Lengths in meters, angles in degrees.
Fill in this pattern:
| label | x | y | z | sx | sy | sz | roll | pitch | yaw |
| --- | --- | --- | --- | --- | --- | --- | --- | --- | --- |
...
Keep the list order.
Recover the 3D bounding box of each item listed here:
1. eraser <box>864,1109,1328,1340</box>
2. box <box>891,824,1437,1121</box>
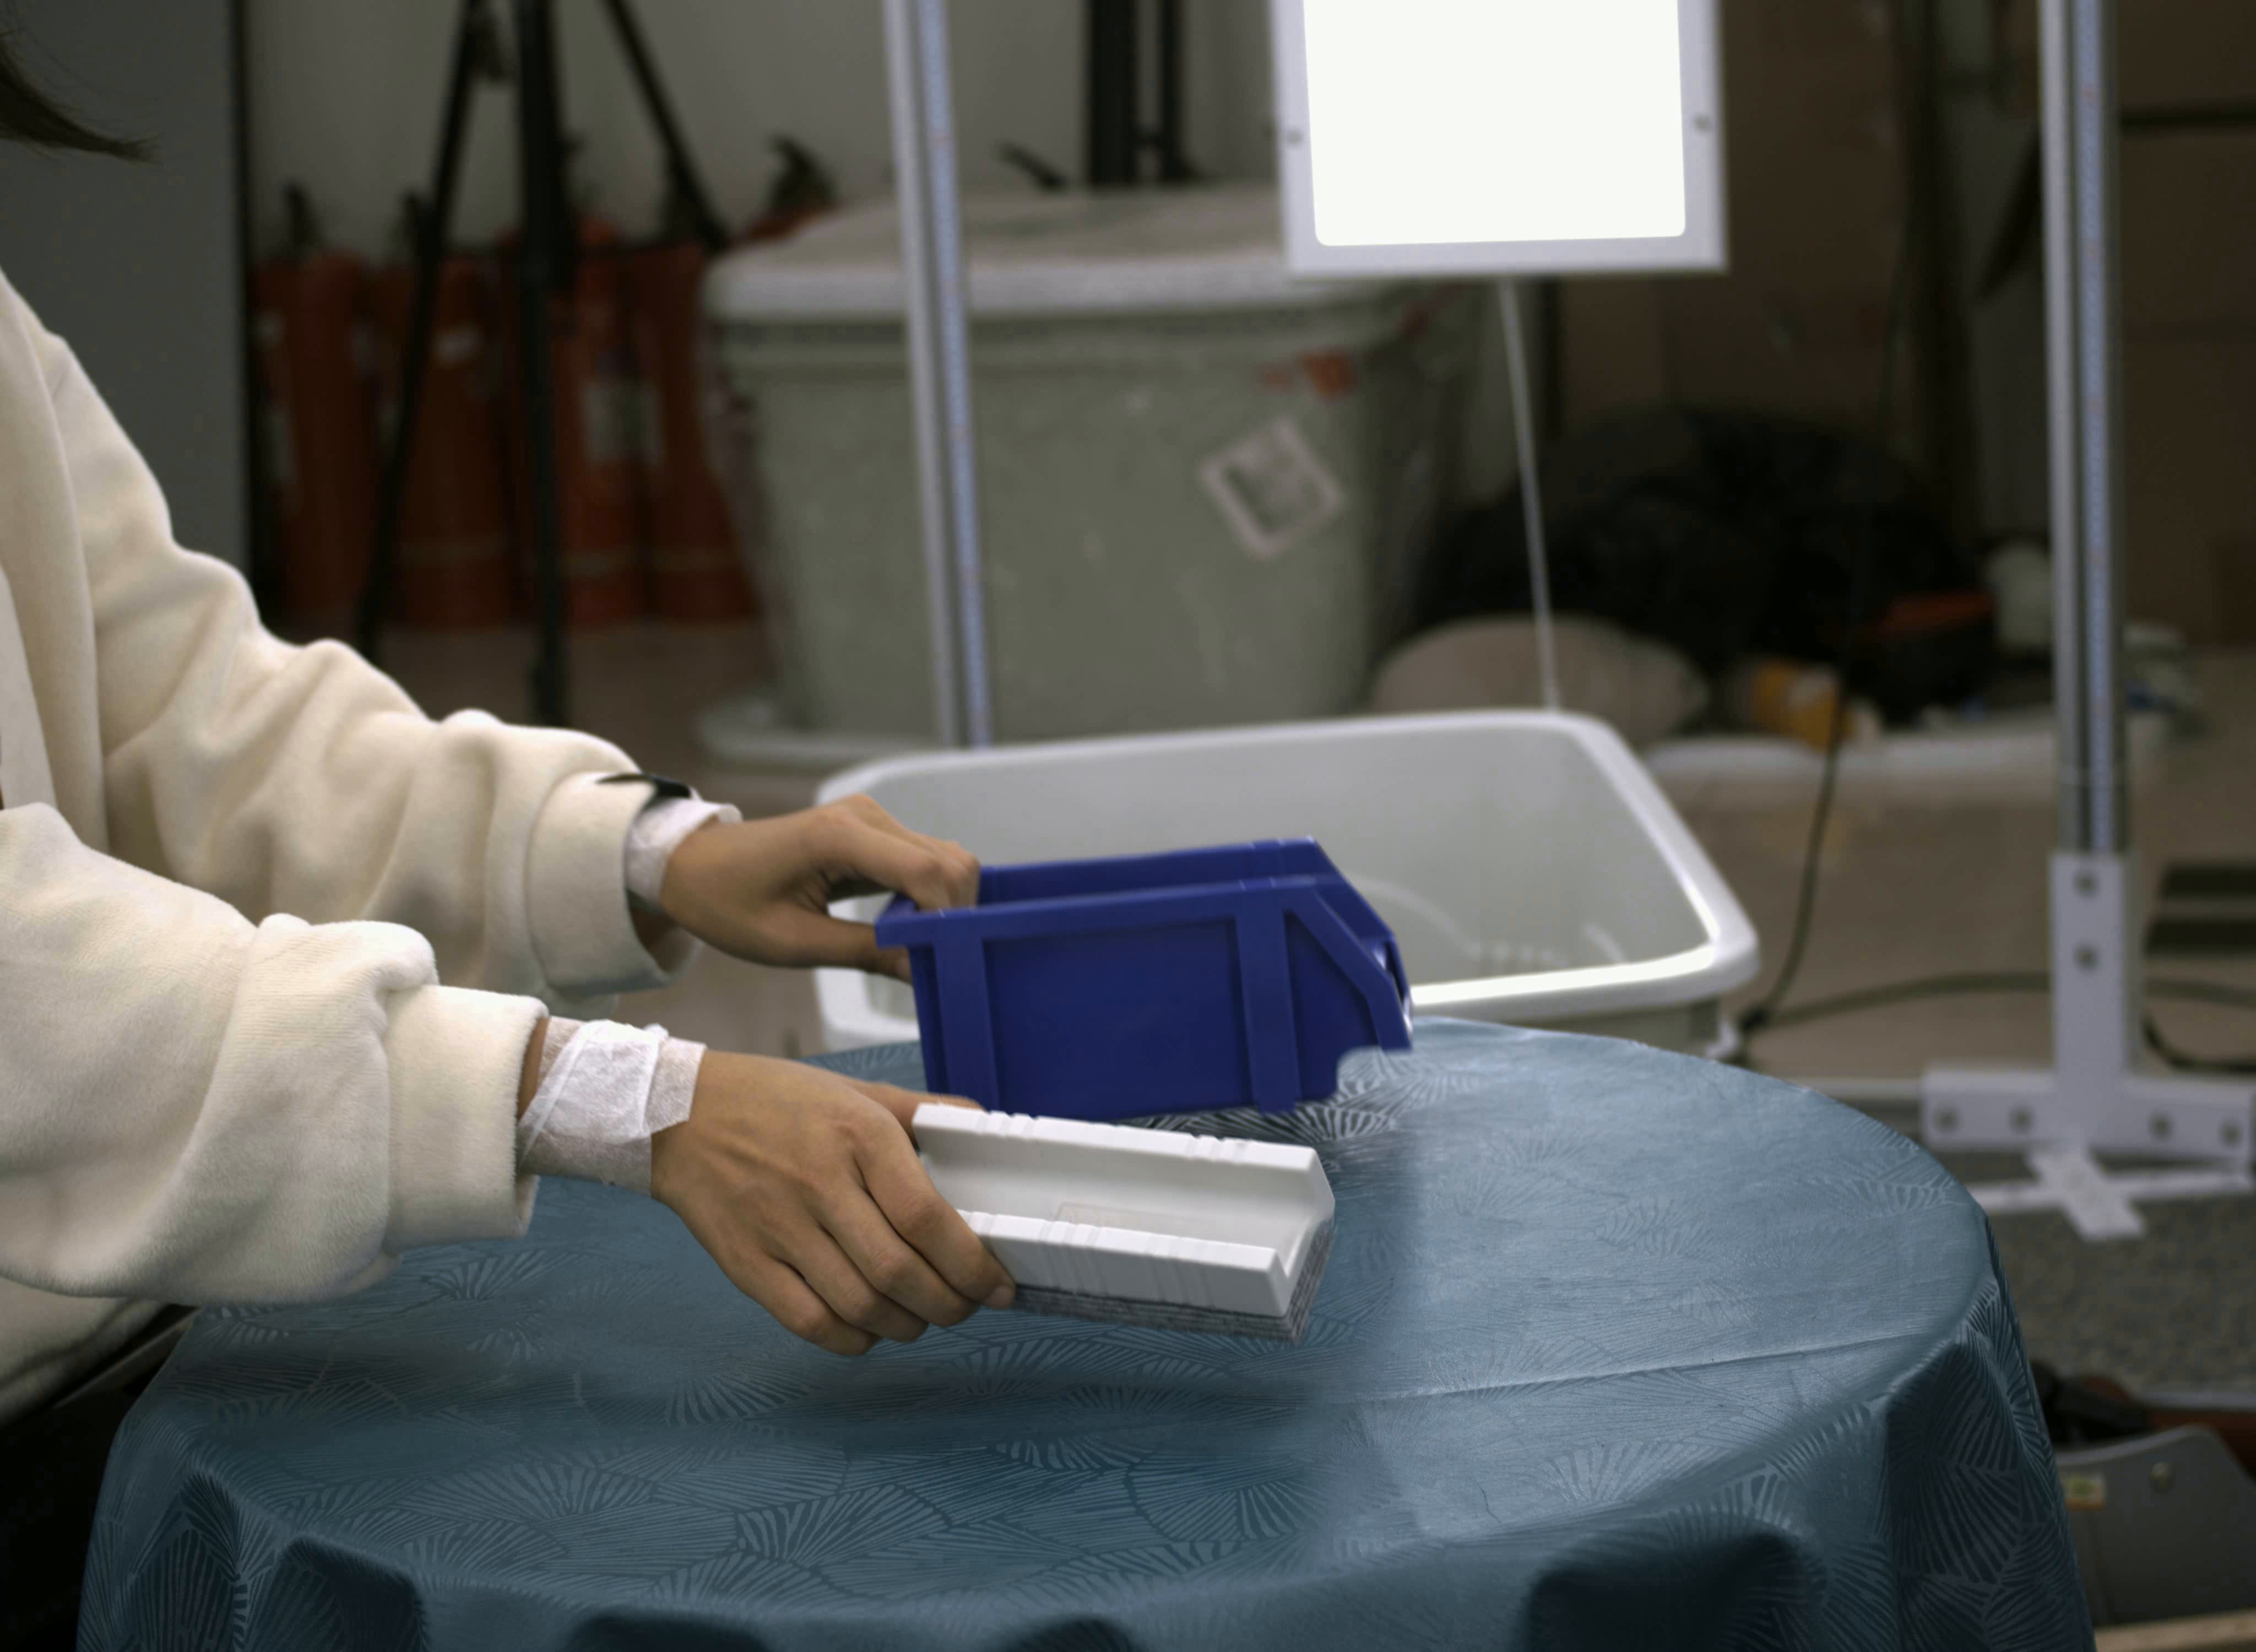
| label | x | y | z | sx | sy | sz | roll | pitch | yaw |
| --- | --- | --- | --- | --- | --- | --- | --- | --- | --- |
| eraser | -0.009 | 0.122 | 1.691 | 0.136 | 0.046 | 0.049 | 4 | 54 | 23 |
| box | 0.017 | 0.051 | 1.939 | 0.180 | 0.082 | 0.123 | -7 | 6 | 7 |
